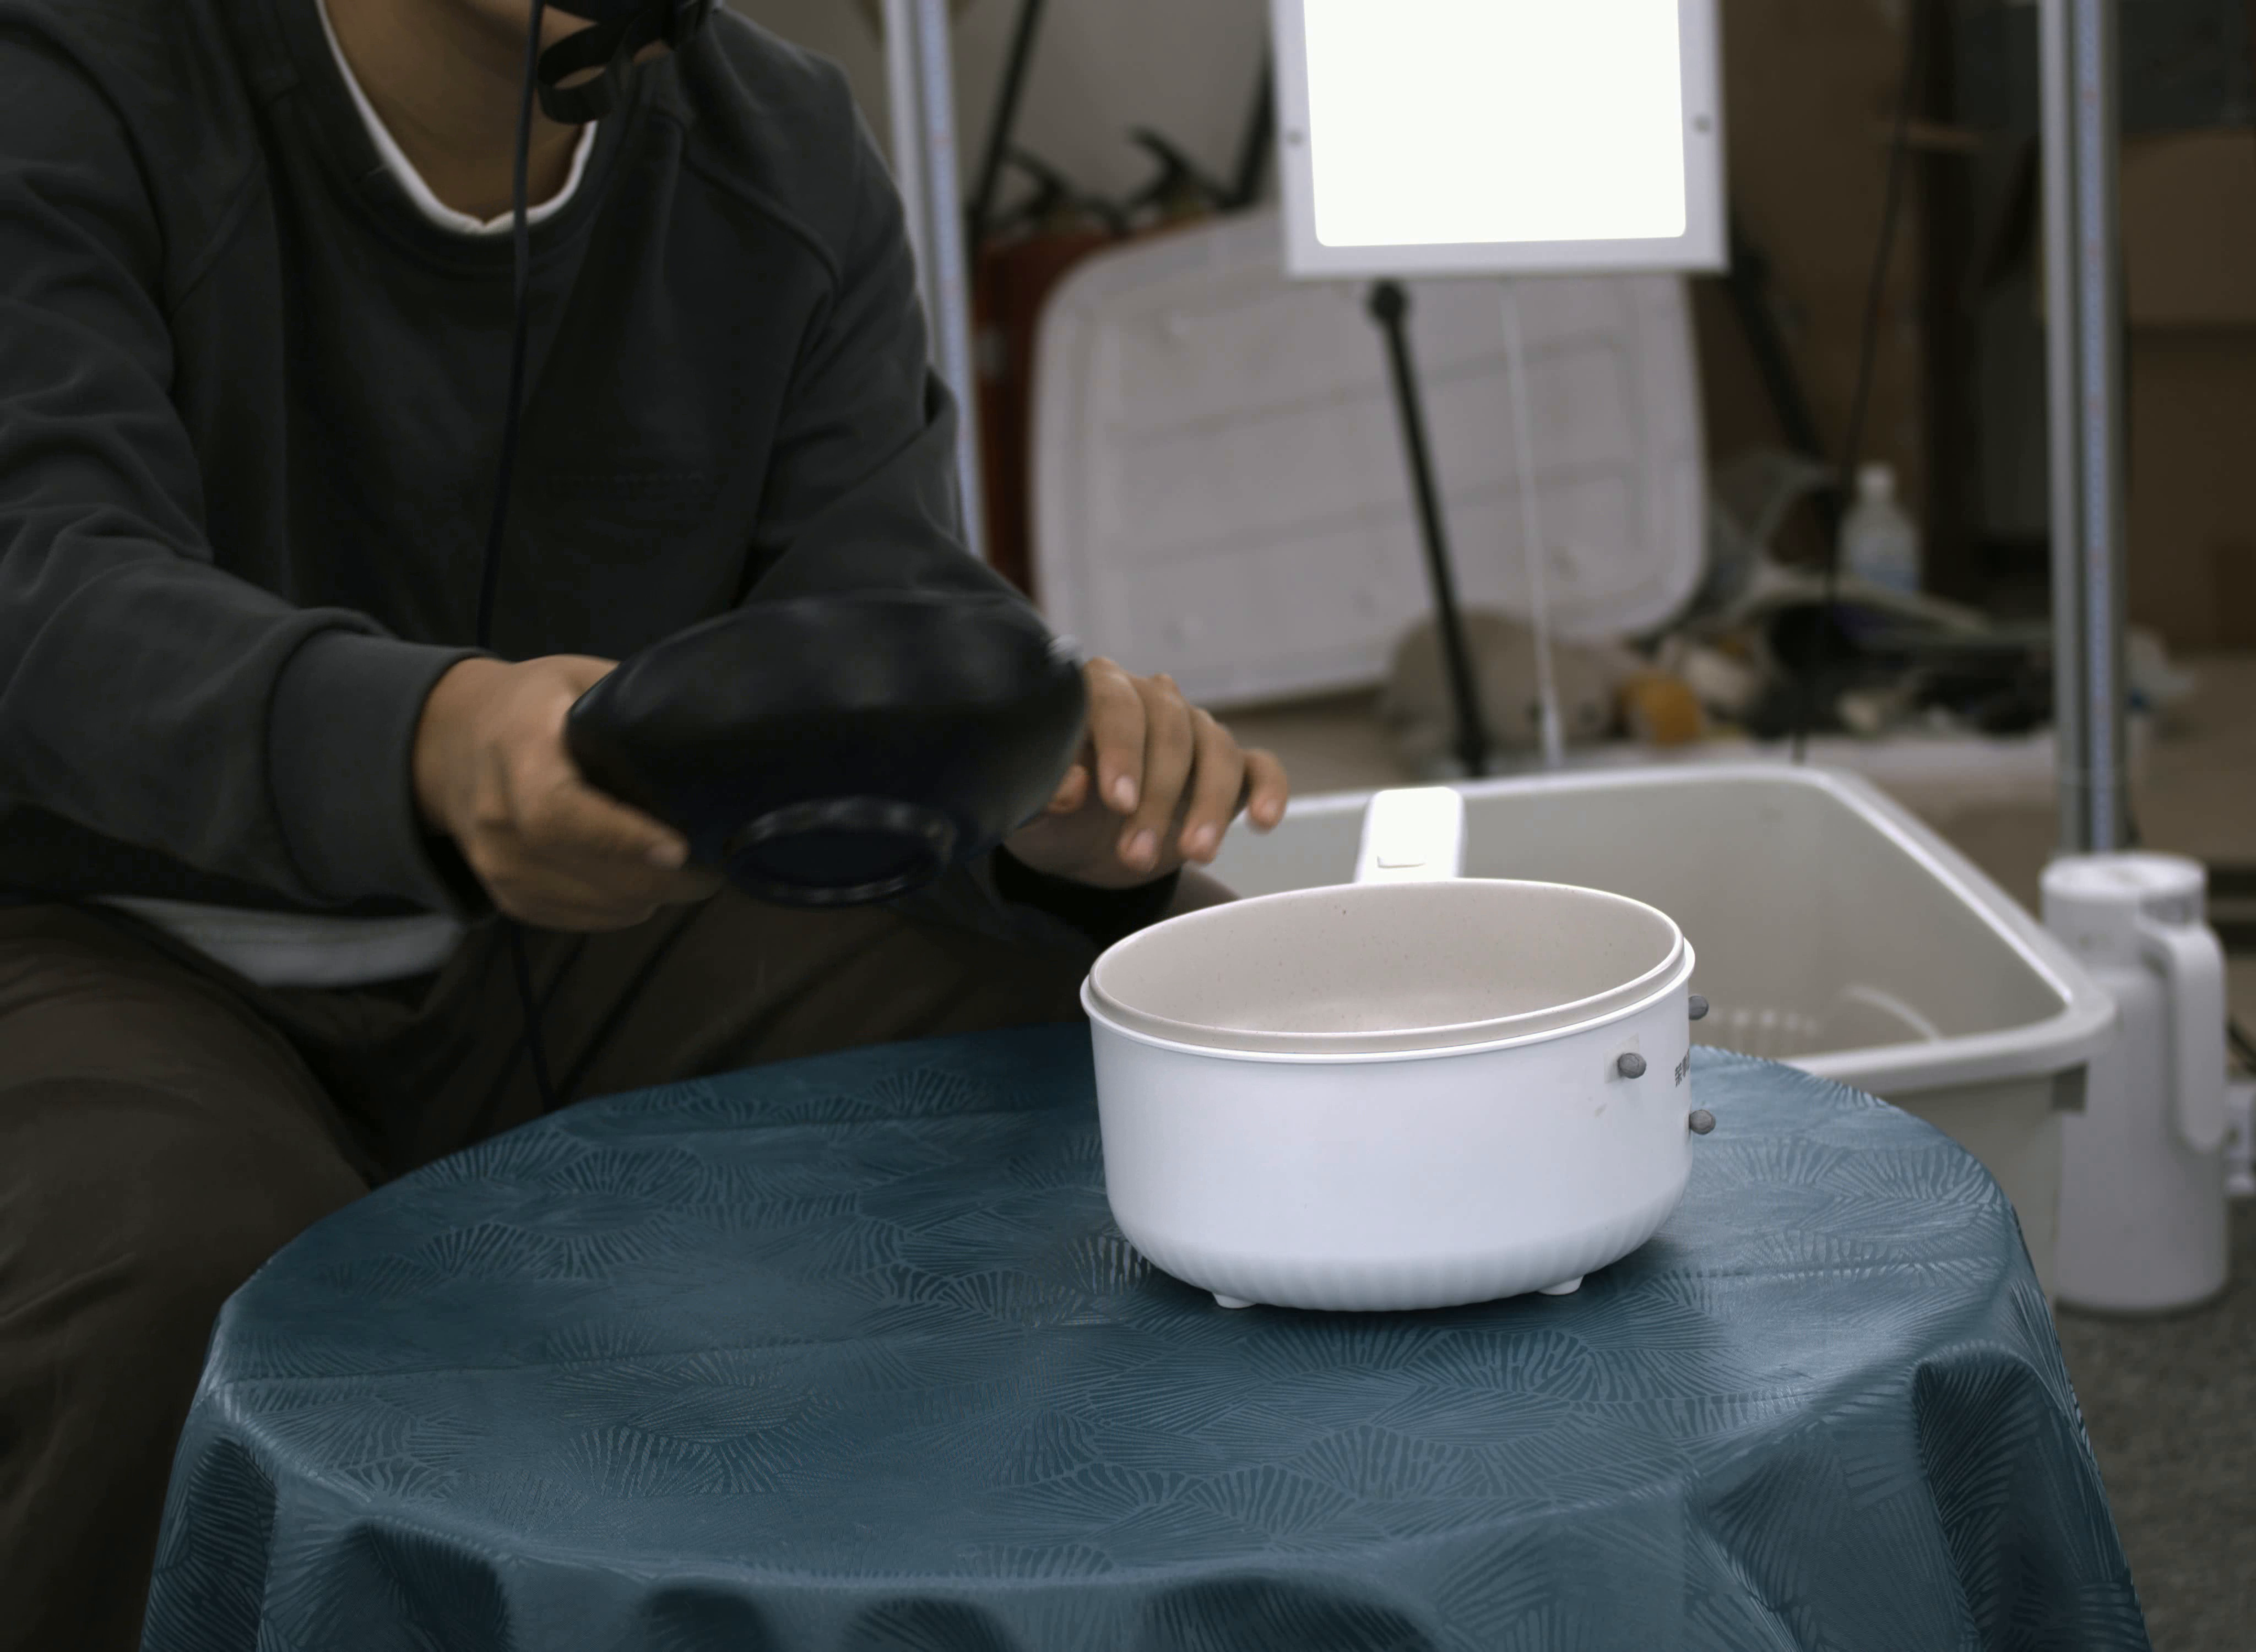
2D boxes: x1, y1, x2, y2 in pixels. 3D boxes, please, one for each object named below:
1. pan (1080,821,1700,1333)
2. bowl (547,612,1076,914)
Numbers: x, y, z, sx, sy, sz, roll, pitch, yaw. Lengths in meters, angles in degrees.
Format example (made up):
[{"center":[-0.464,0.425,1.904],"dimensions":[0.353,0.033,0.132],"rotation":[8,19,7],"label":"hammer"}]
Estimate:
[{"center":[0.095,0.081,1.878],"dimensions":[0.202,0.102,0.352],"rotation":[-7,11,7],"label":"pan"},{"center":[-0.095,-0.013,1.717],"dimensions":[0.167,0.067,0.140],"rotation":[2,-21,-21],"label":"bowl"}]
